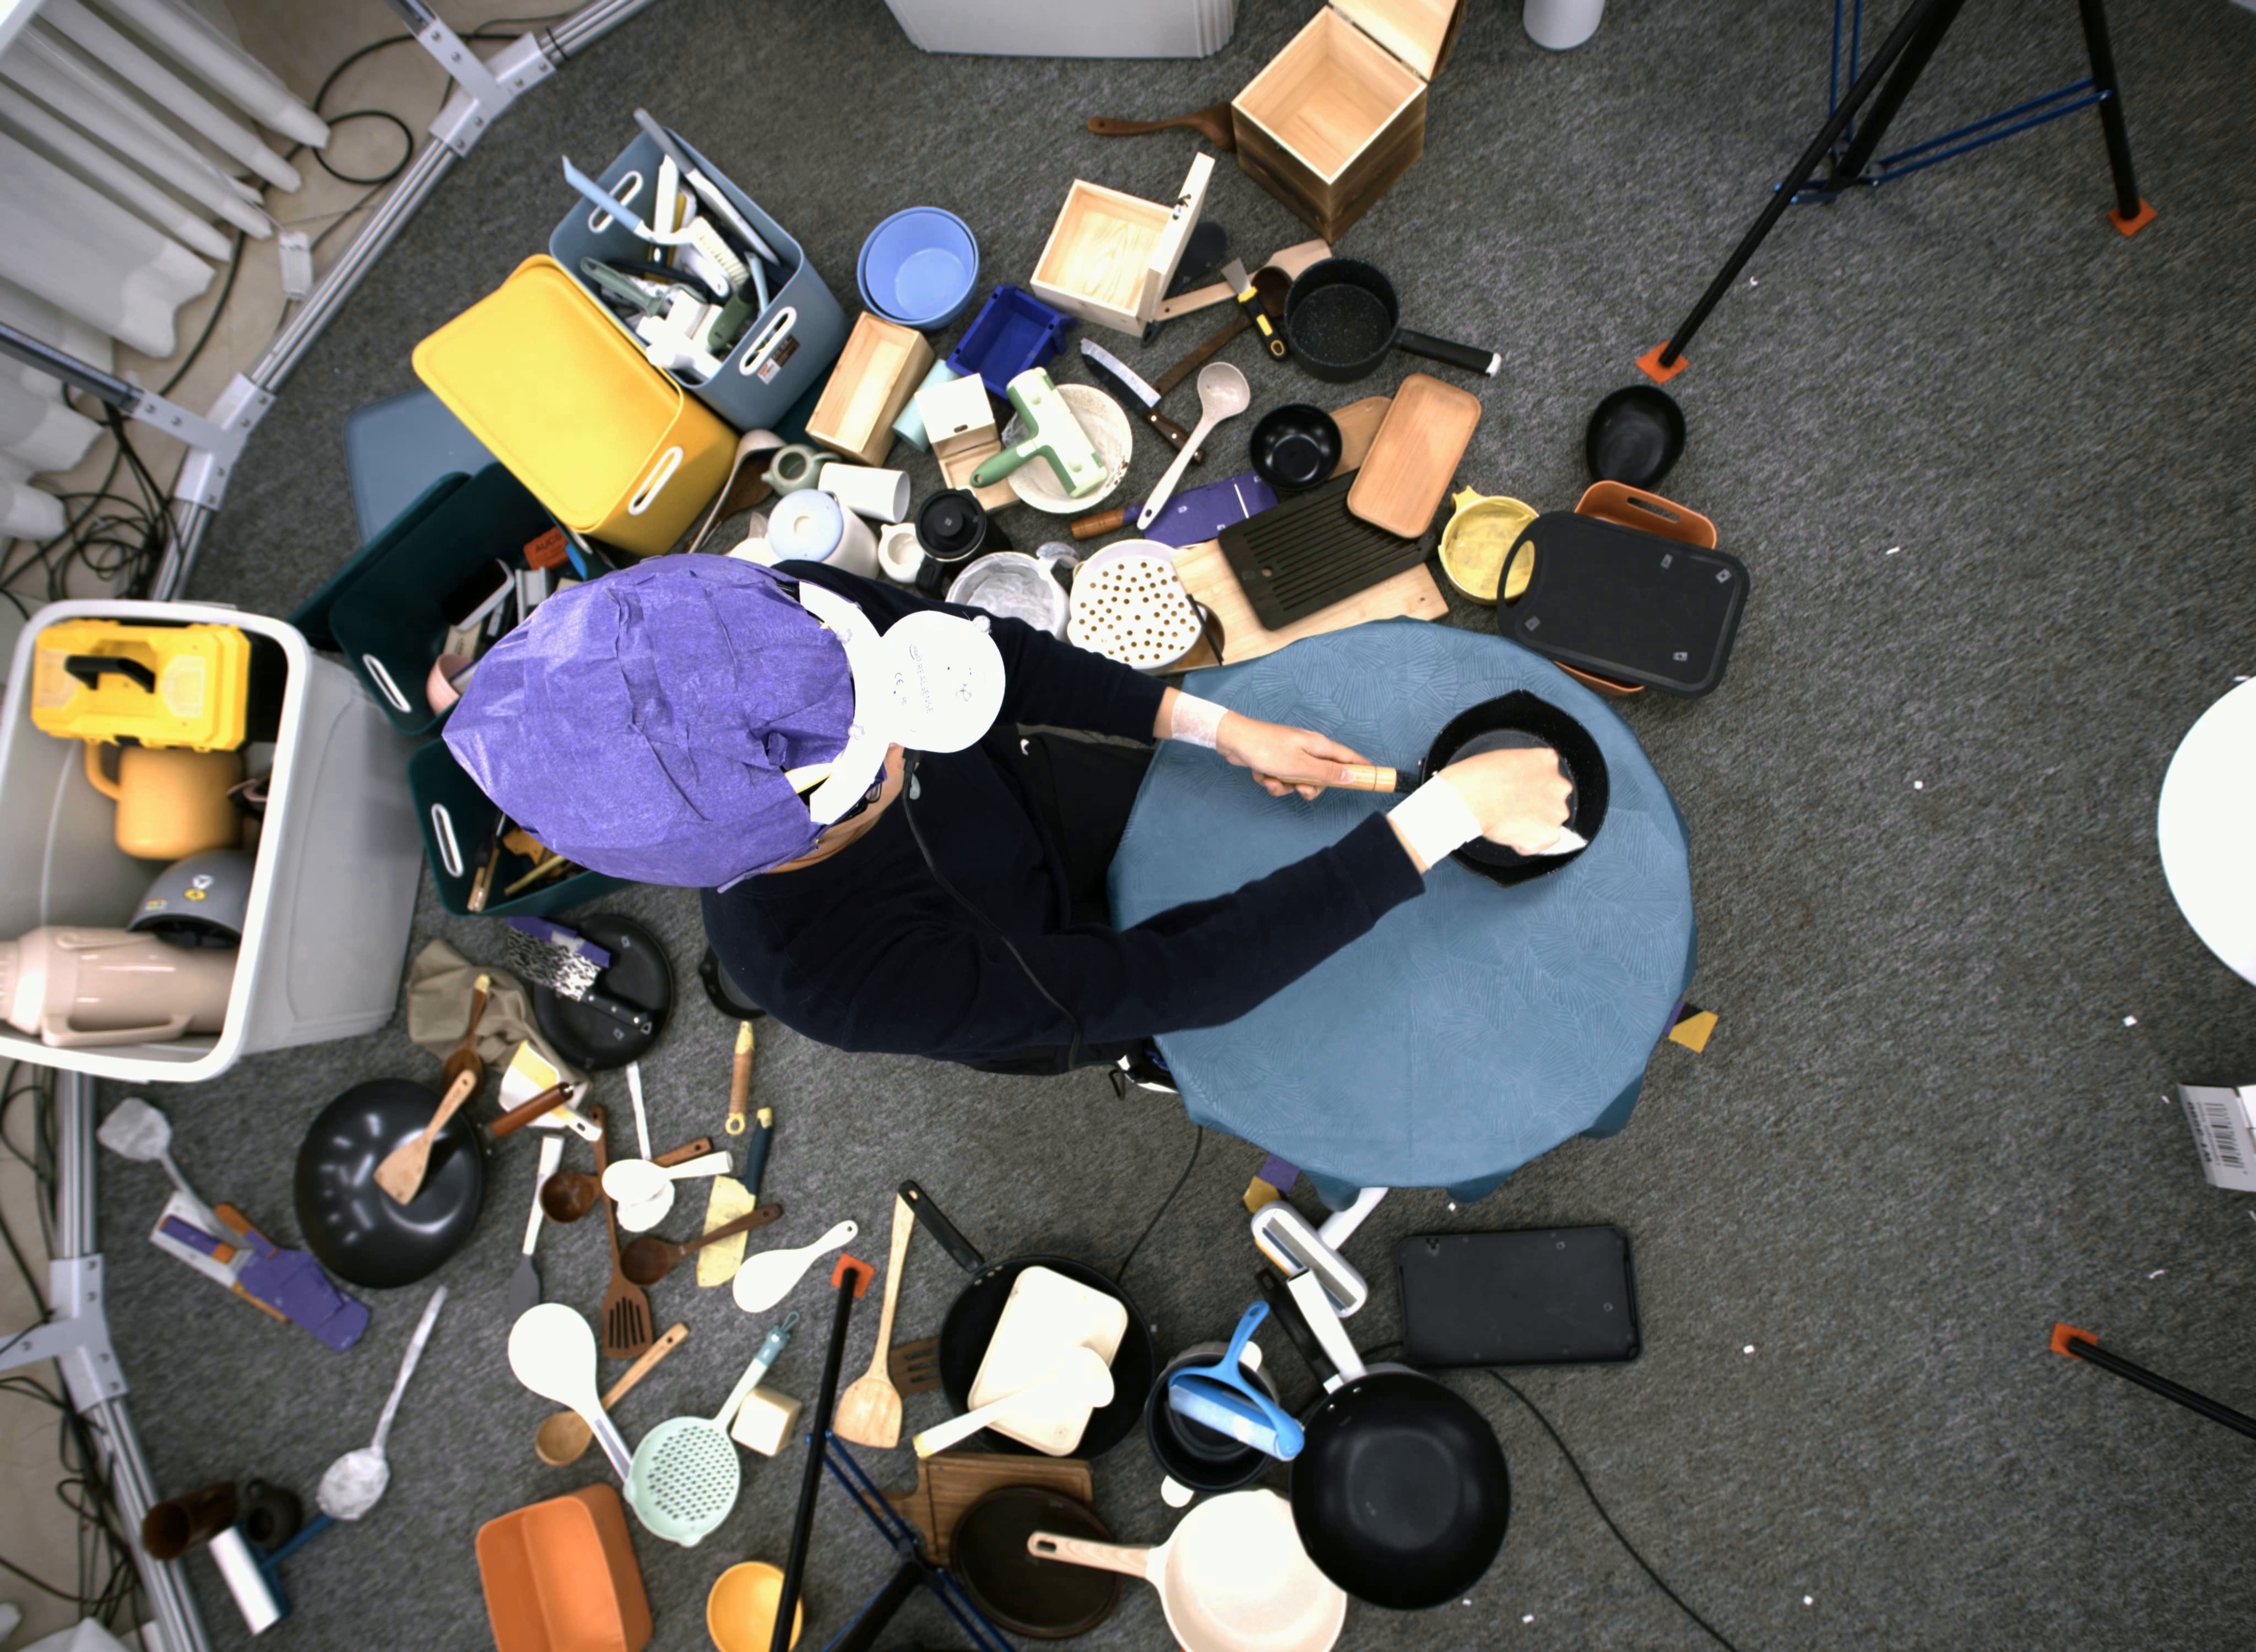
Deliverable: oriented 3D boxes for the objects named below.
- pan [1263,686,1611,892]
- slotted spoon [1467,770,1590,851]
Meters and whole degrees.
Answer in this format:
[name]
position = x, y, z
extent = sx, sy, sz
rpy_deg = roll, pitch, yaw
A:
[pan]
position = 0.311, -0.041, 1.404
extent = 0.344, 0.108, 0.207
rpy_deg = 4, 88, 10
[slotted spoon]
position = 0.363, -0.015, 1.258
extent = 0.136, 0.348, 0.050
rpy_deg = 32, 92, 14
